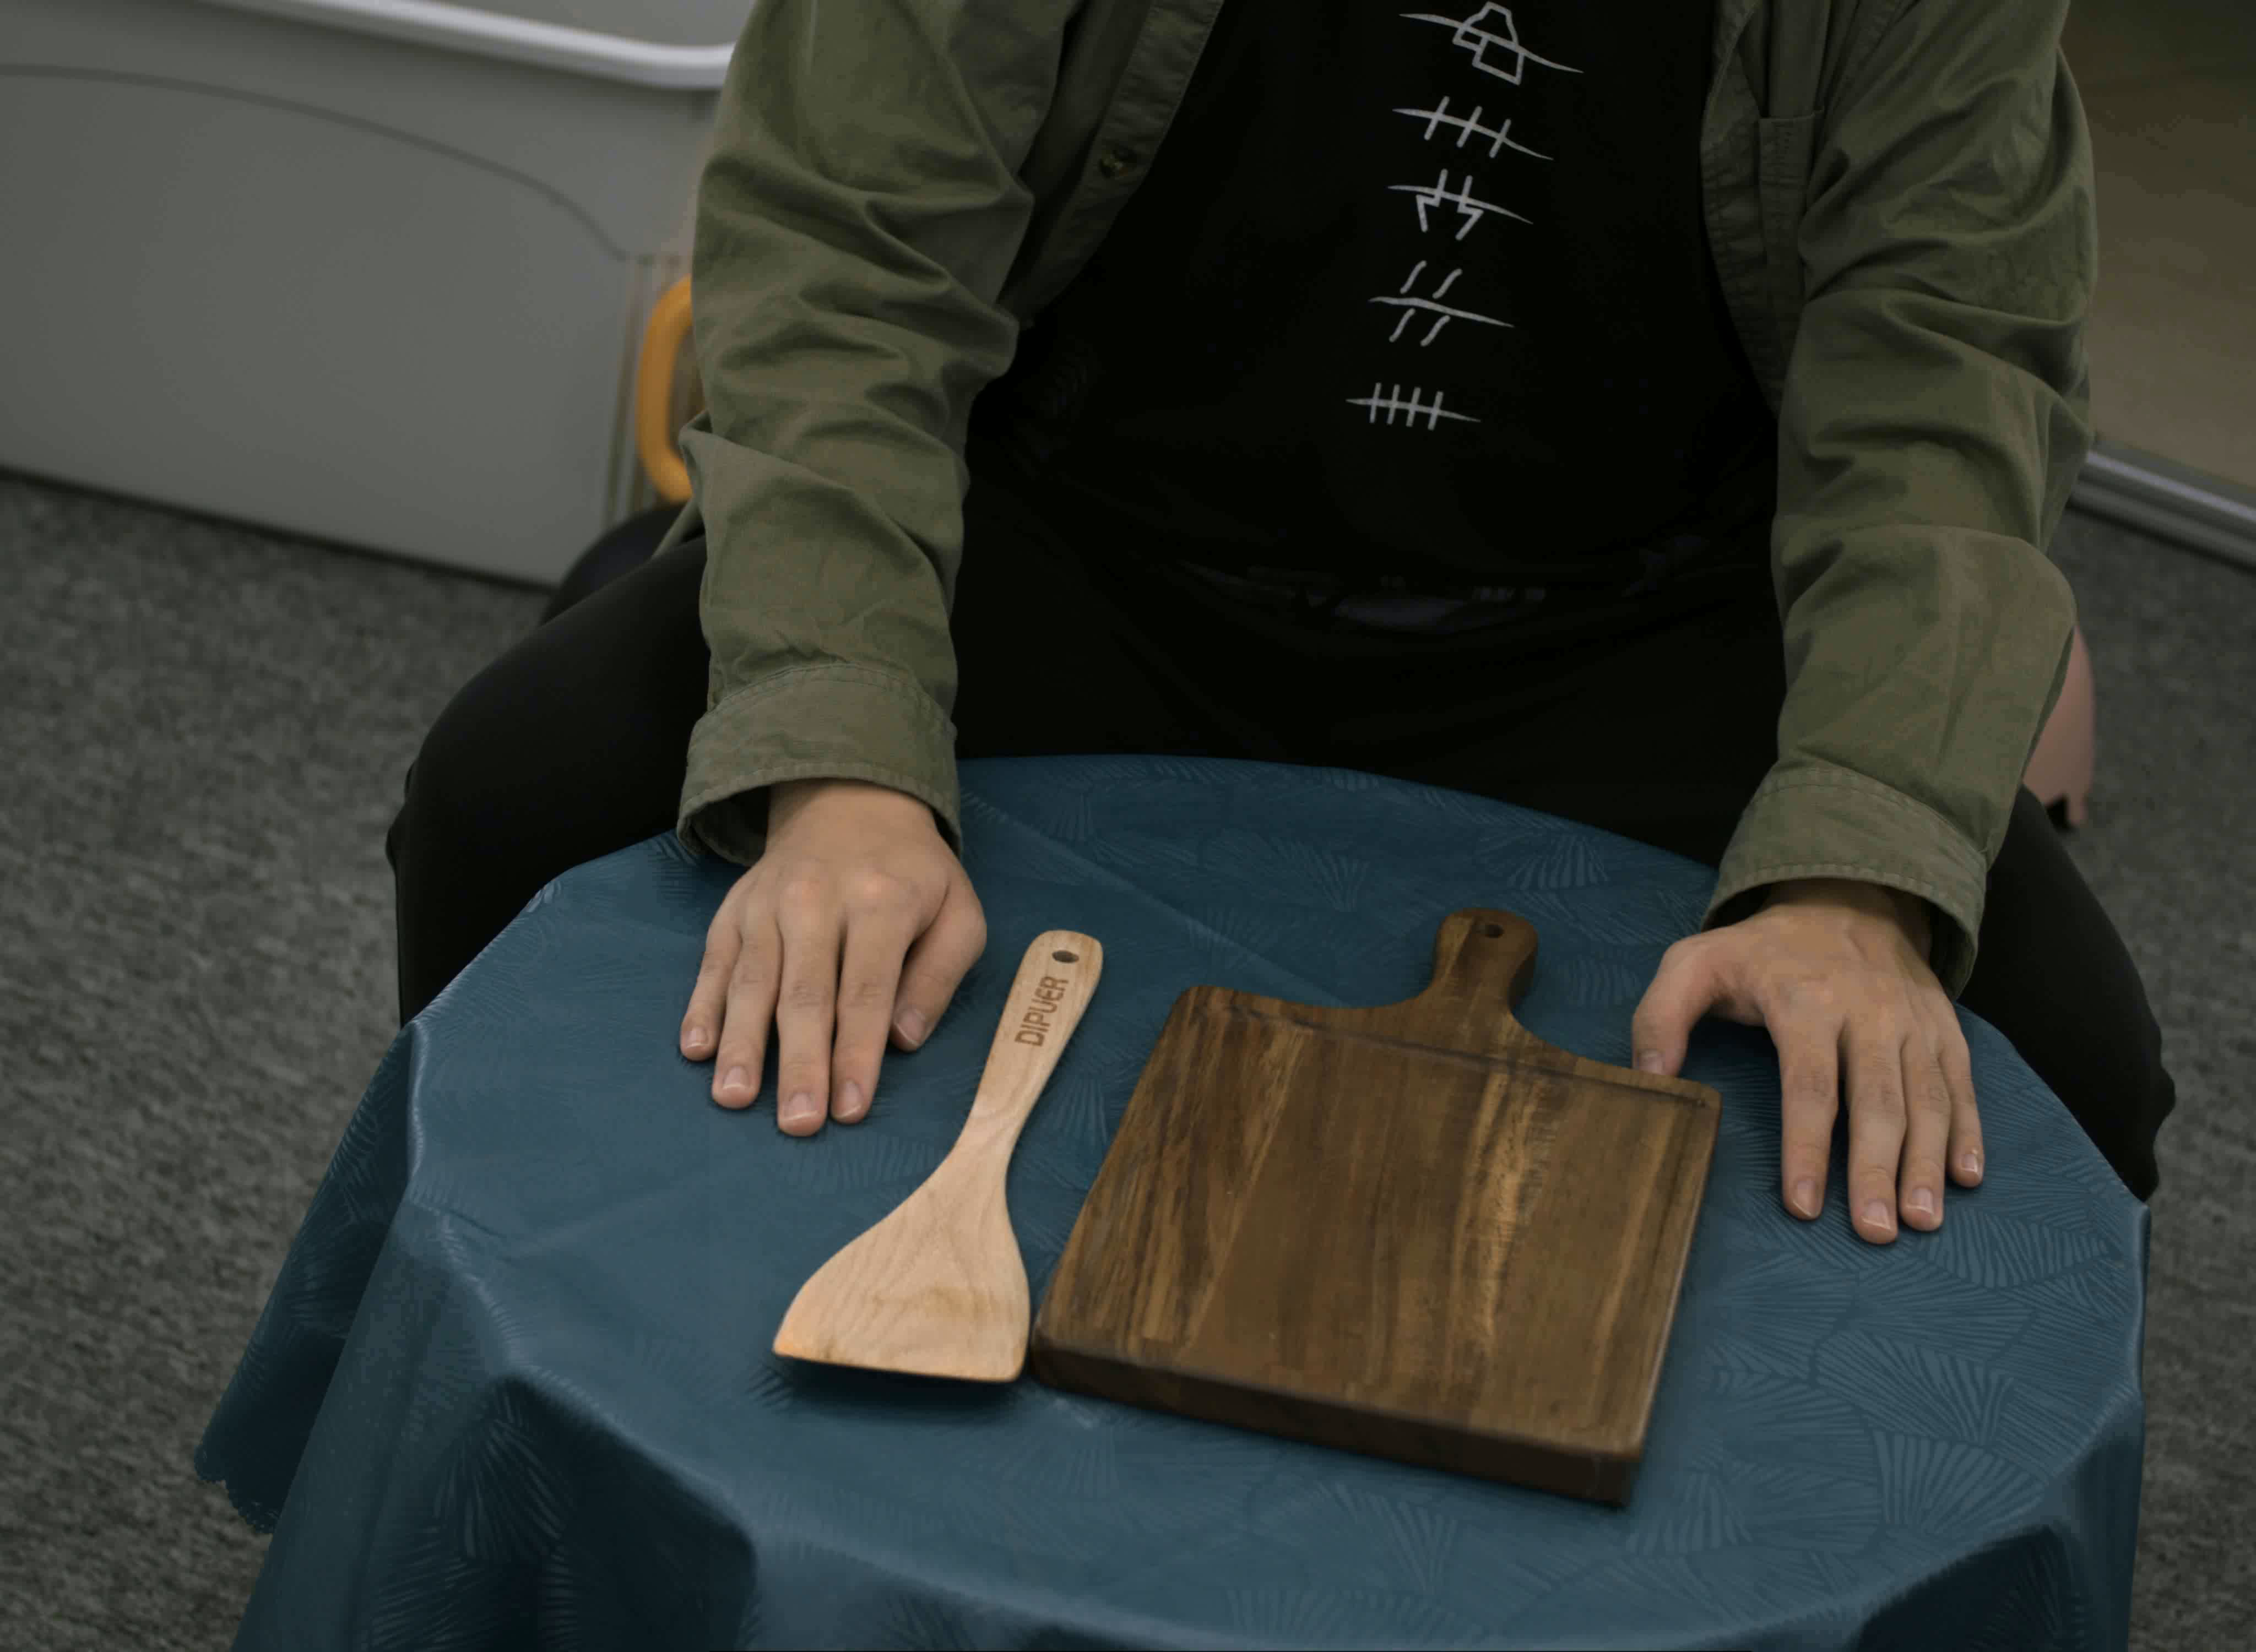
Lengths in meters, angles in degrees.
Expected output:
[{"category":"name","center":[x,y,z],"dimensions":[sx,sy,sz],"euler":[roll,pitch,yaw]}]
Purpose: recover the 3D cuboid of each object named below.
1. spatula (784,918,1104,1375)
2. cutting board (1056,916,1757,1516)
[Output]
[{"category":"spatula","center":[-0.045,0.104,1.809],"dimensions":[0.080,0.016,0.329],"euler":[10,27,6]},{"category":"cutting board","center":[0.109,0.116,1.814],"dimensions":[0.201,0.023,0.353],"euler":[11,27,10]}]
